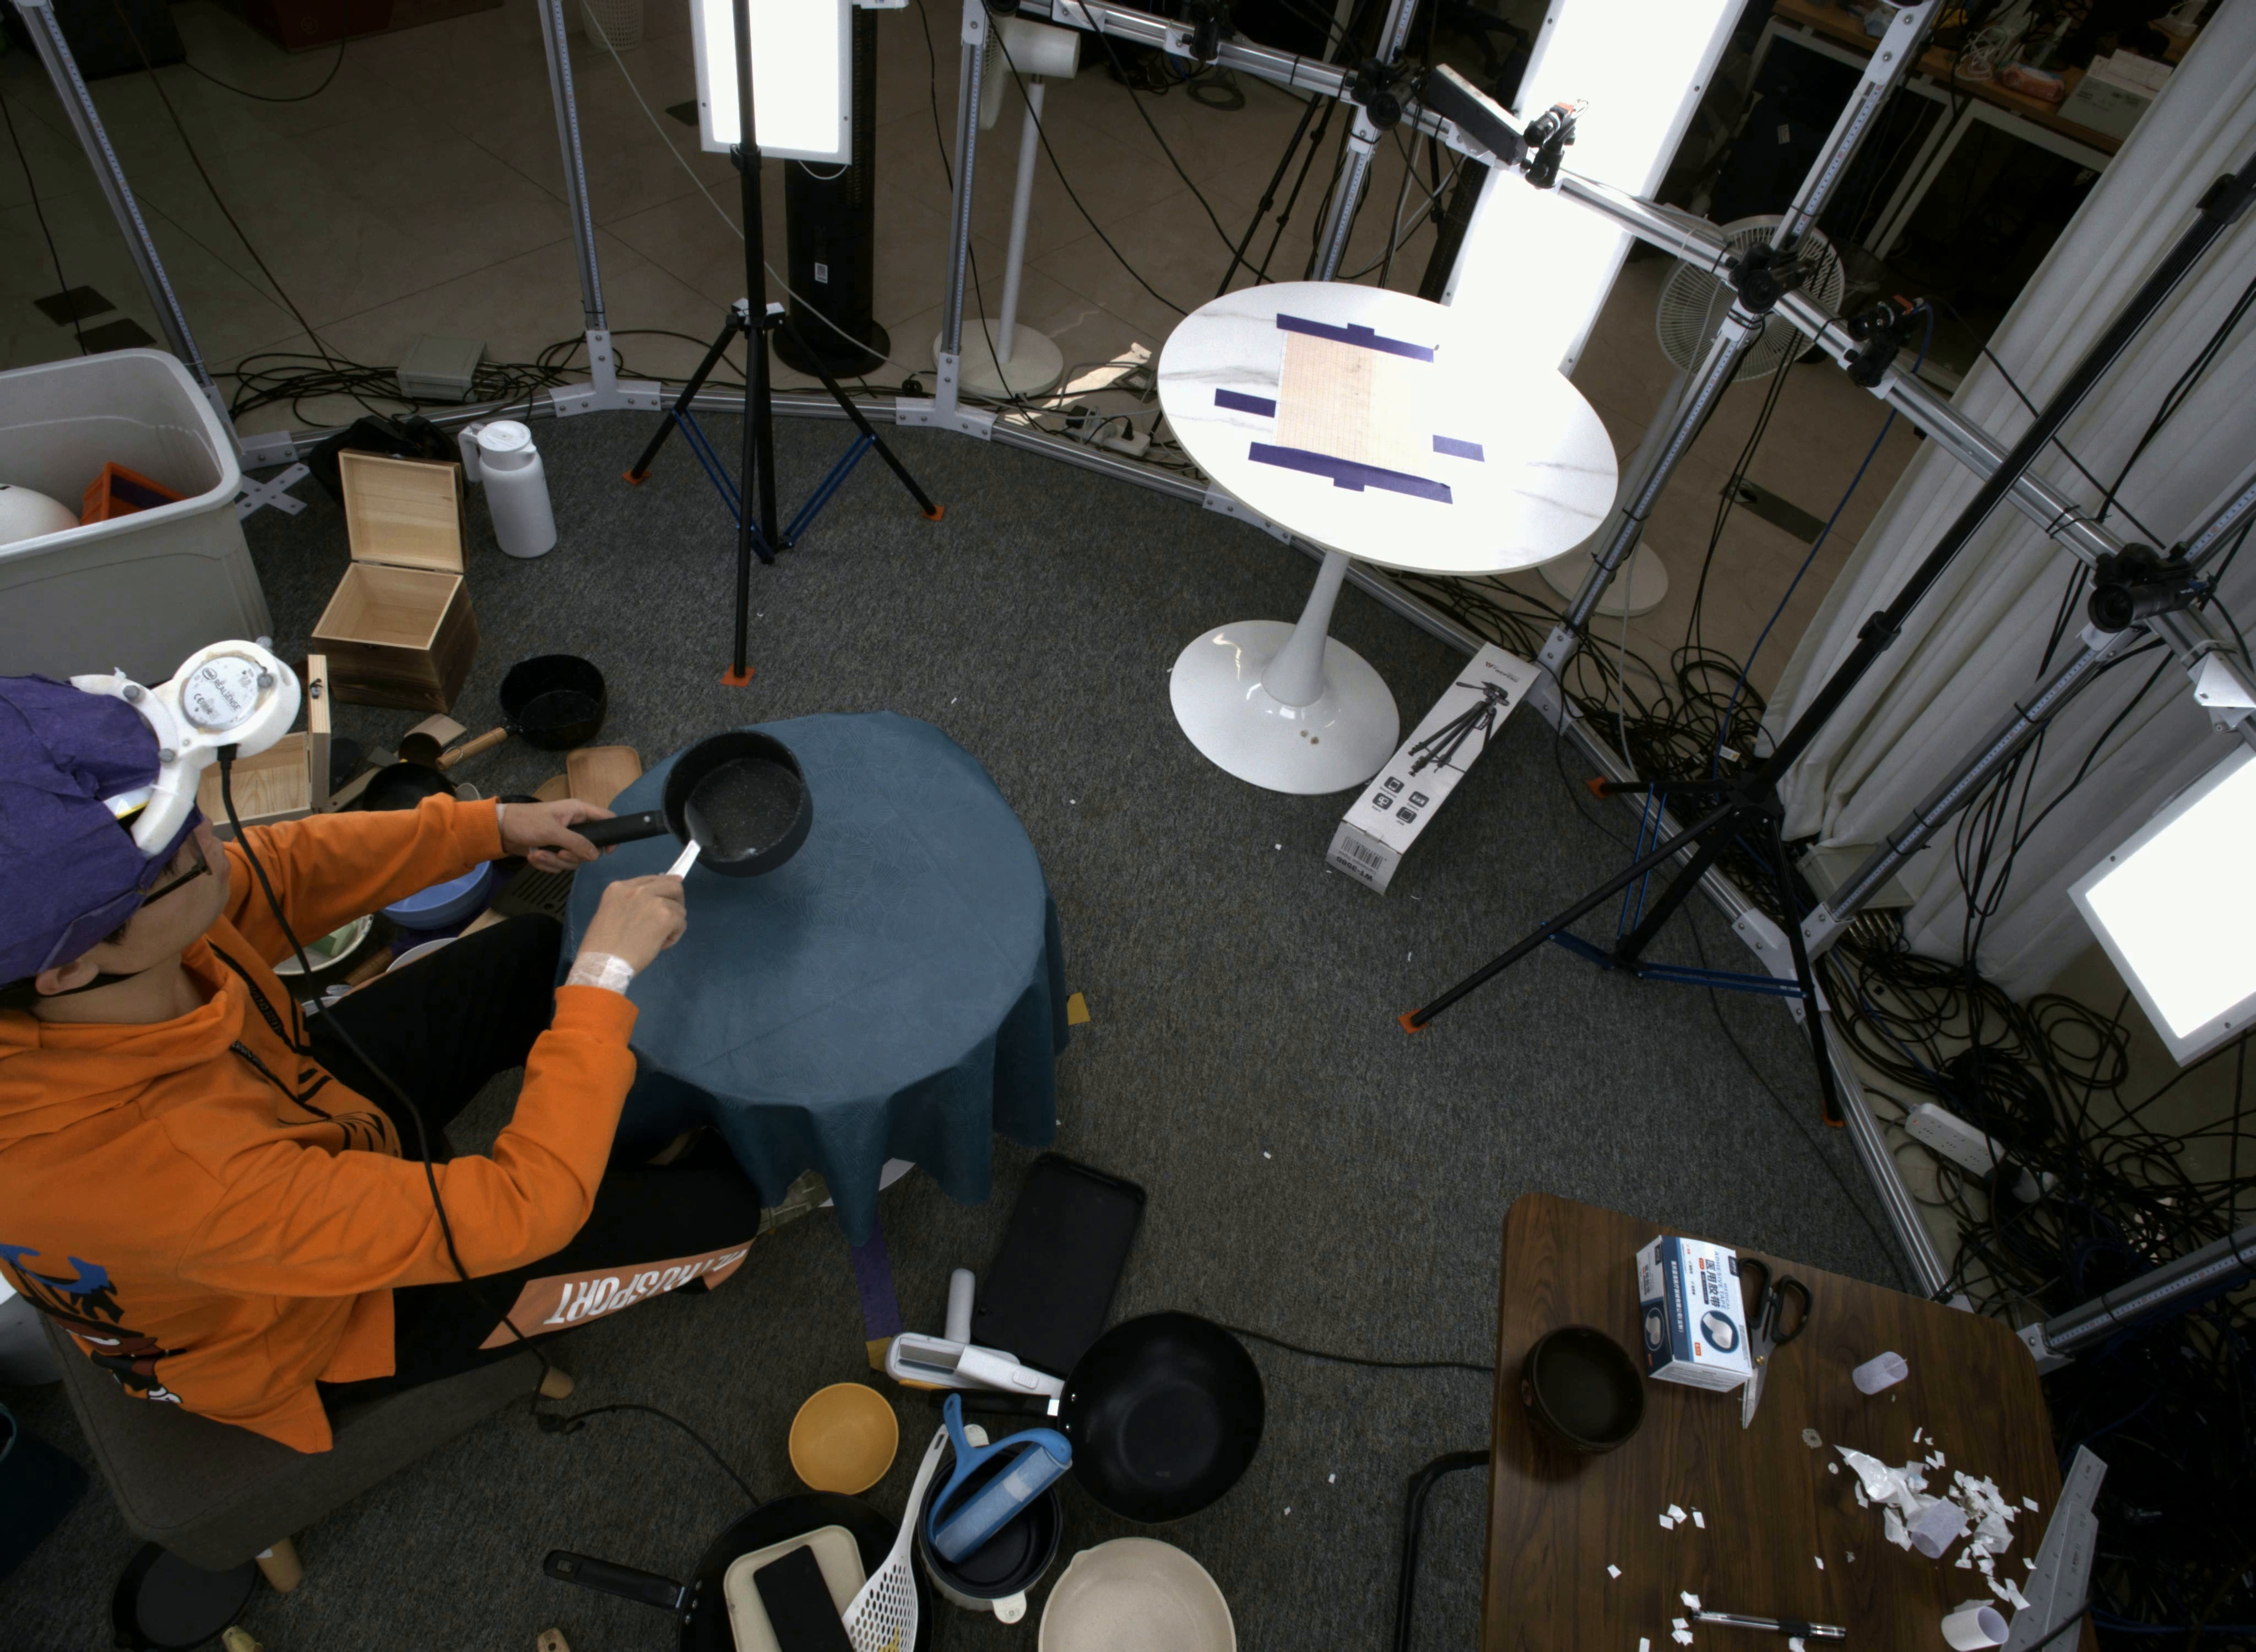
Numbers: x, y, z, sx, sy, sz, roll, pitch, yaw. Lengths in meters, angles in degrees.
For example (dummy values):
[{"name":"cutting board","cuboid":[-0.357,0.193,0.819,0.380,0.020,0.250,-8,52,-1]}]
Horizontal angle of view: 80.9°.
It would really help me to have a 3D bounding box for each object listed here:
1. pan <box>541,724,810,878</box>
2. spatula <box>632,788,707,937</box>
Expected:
[{"name":"pan","cuboid":[-0.544,-0.010,1.532,0.327,0.088,0.170,-13,70,-10]},{"name":"spatula","cuboid":[-0.501,0.033,1.423,0.032,0.060,0.280,-32,27,10]}]
